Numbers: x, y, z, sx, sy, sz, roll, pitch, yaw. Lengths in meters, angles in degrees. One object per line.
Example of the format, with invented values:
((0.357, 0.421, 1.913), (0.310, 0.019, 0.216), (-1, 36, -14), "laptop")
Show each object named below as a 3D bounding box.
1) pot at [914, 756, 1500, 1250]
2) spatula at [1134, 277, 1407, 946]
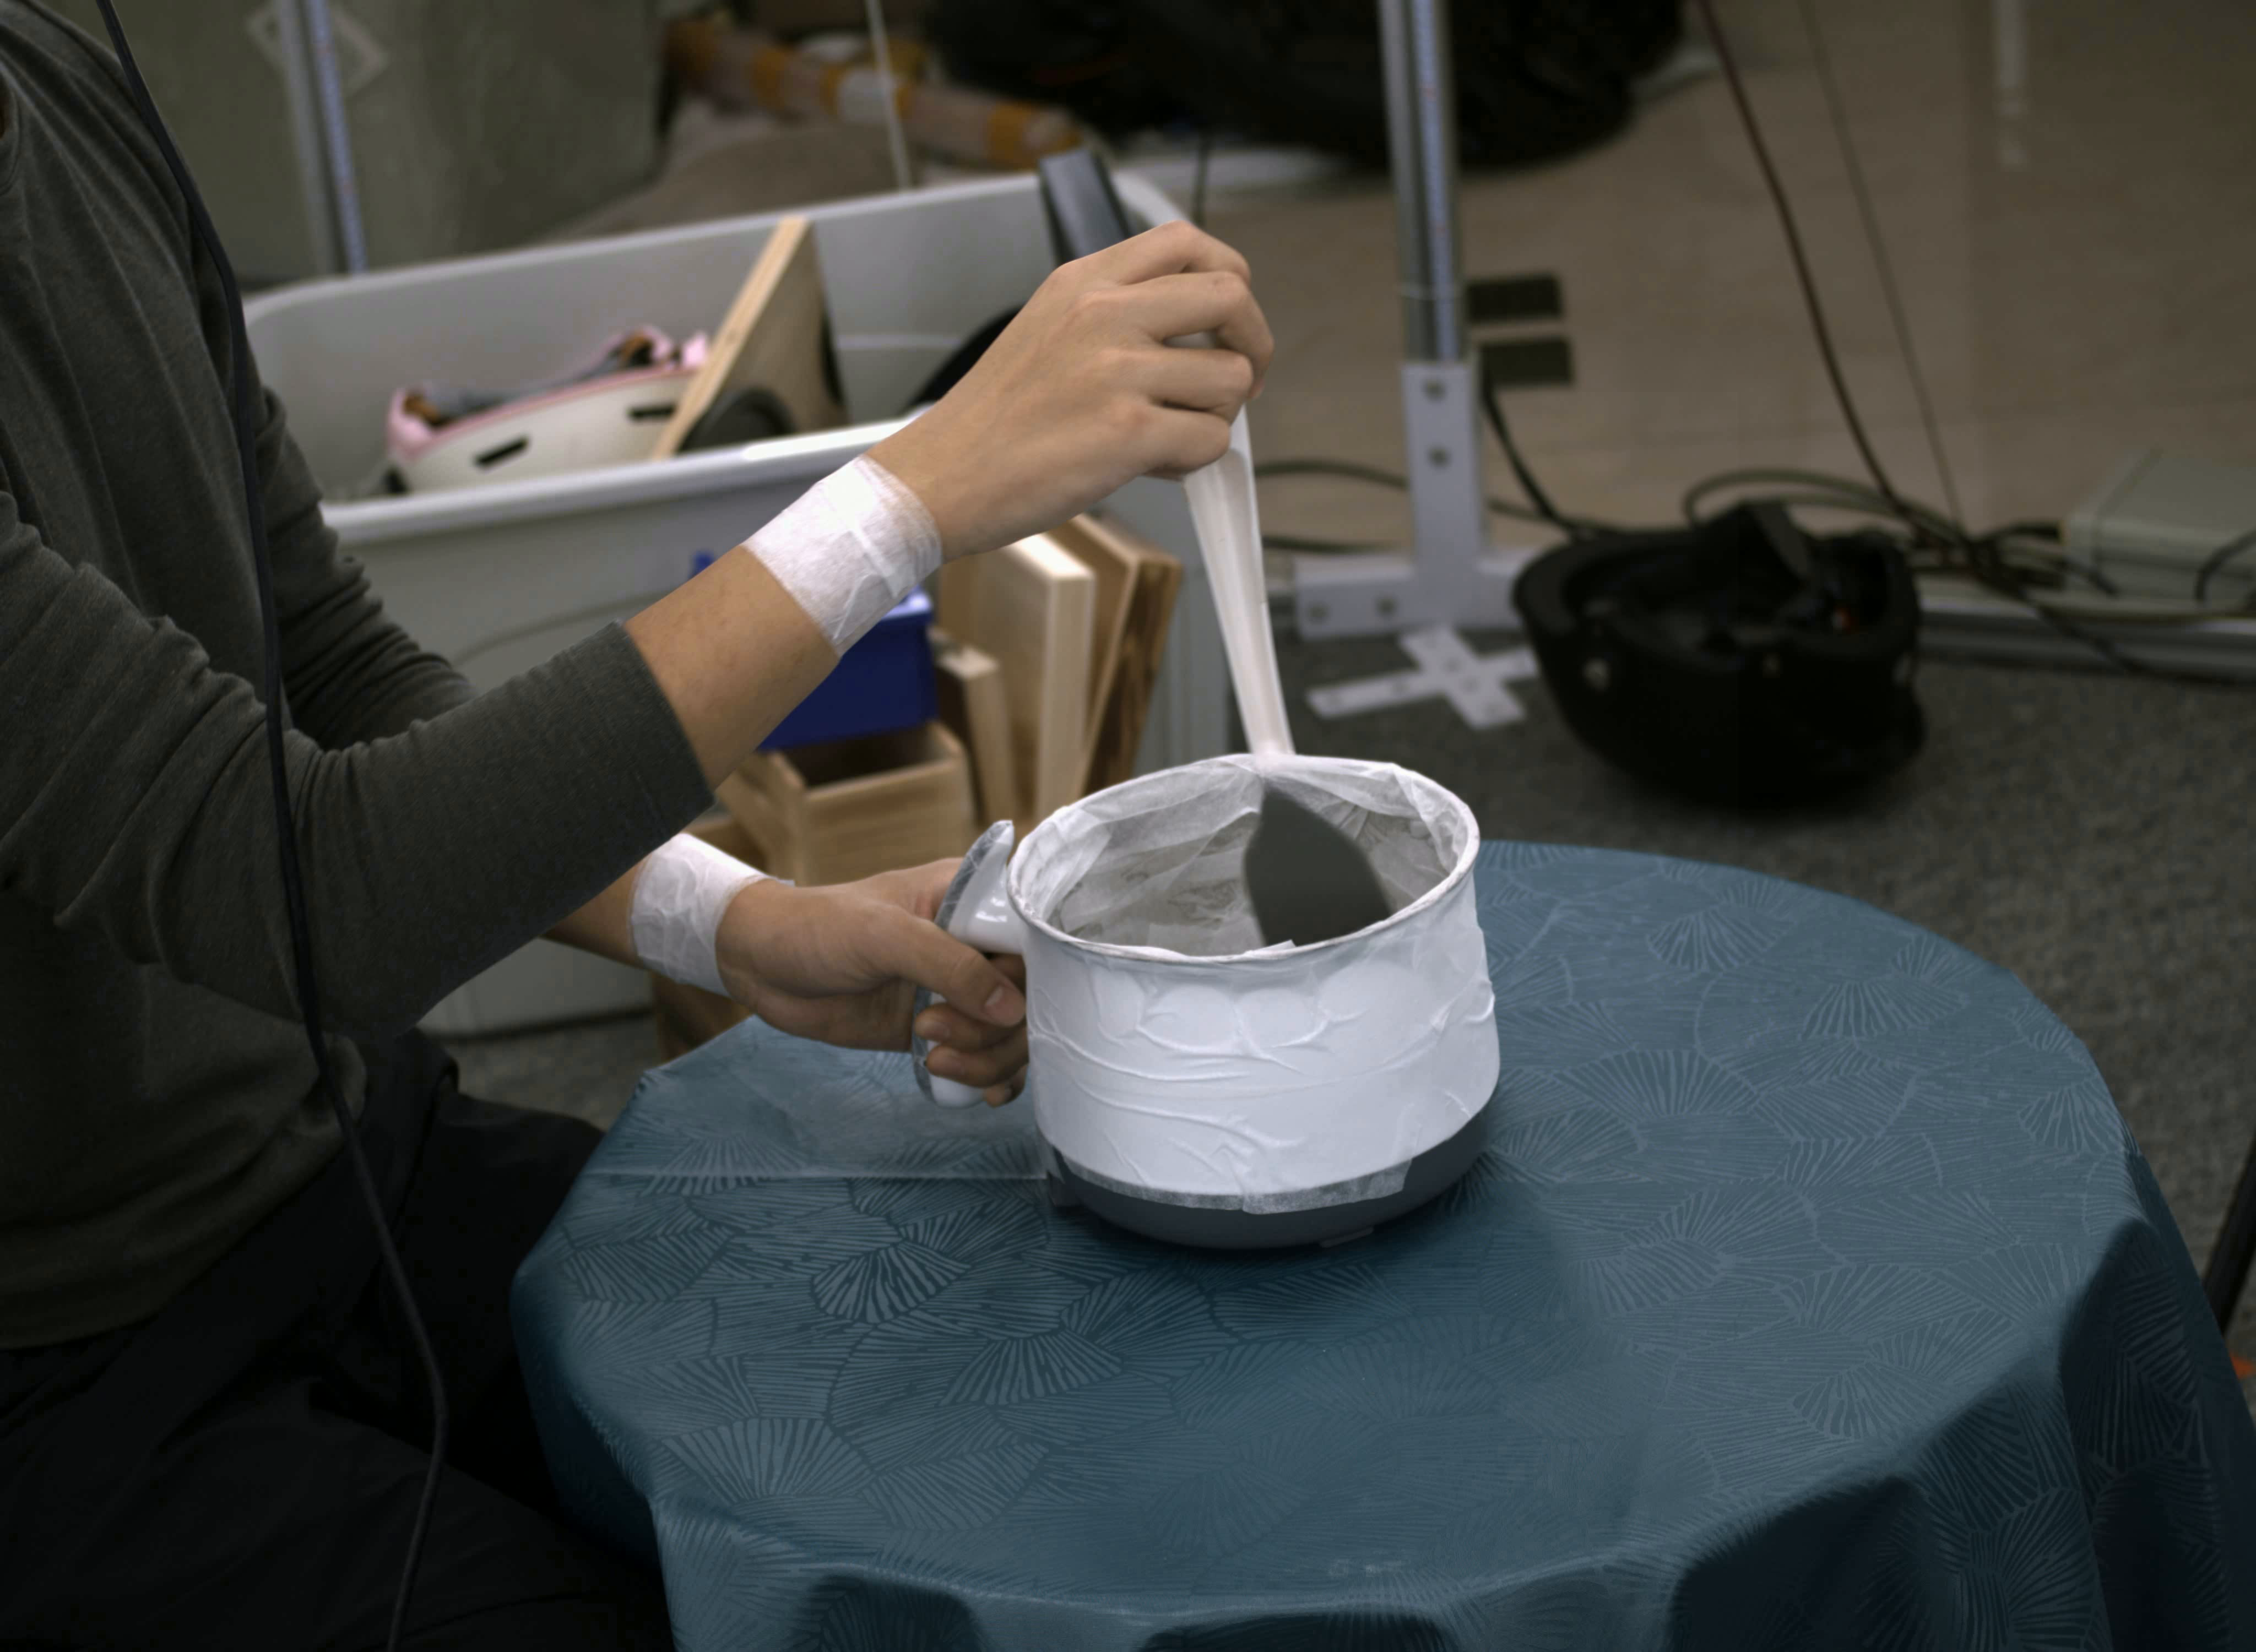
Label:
((0.024, 0.066, 2.139), (0.233, 0.139, 0.176), (4, 27, 23), "pot")
((0.052, -0.060, 2.041), (0.058, 0.292, 0.032), (-9, 26, 15), "spatula")
